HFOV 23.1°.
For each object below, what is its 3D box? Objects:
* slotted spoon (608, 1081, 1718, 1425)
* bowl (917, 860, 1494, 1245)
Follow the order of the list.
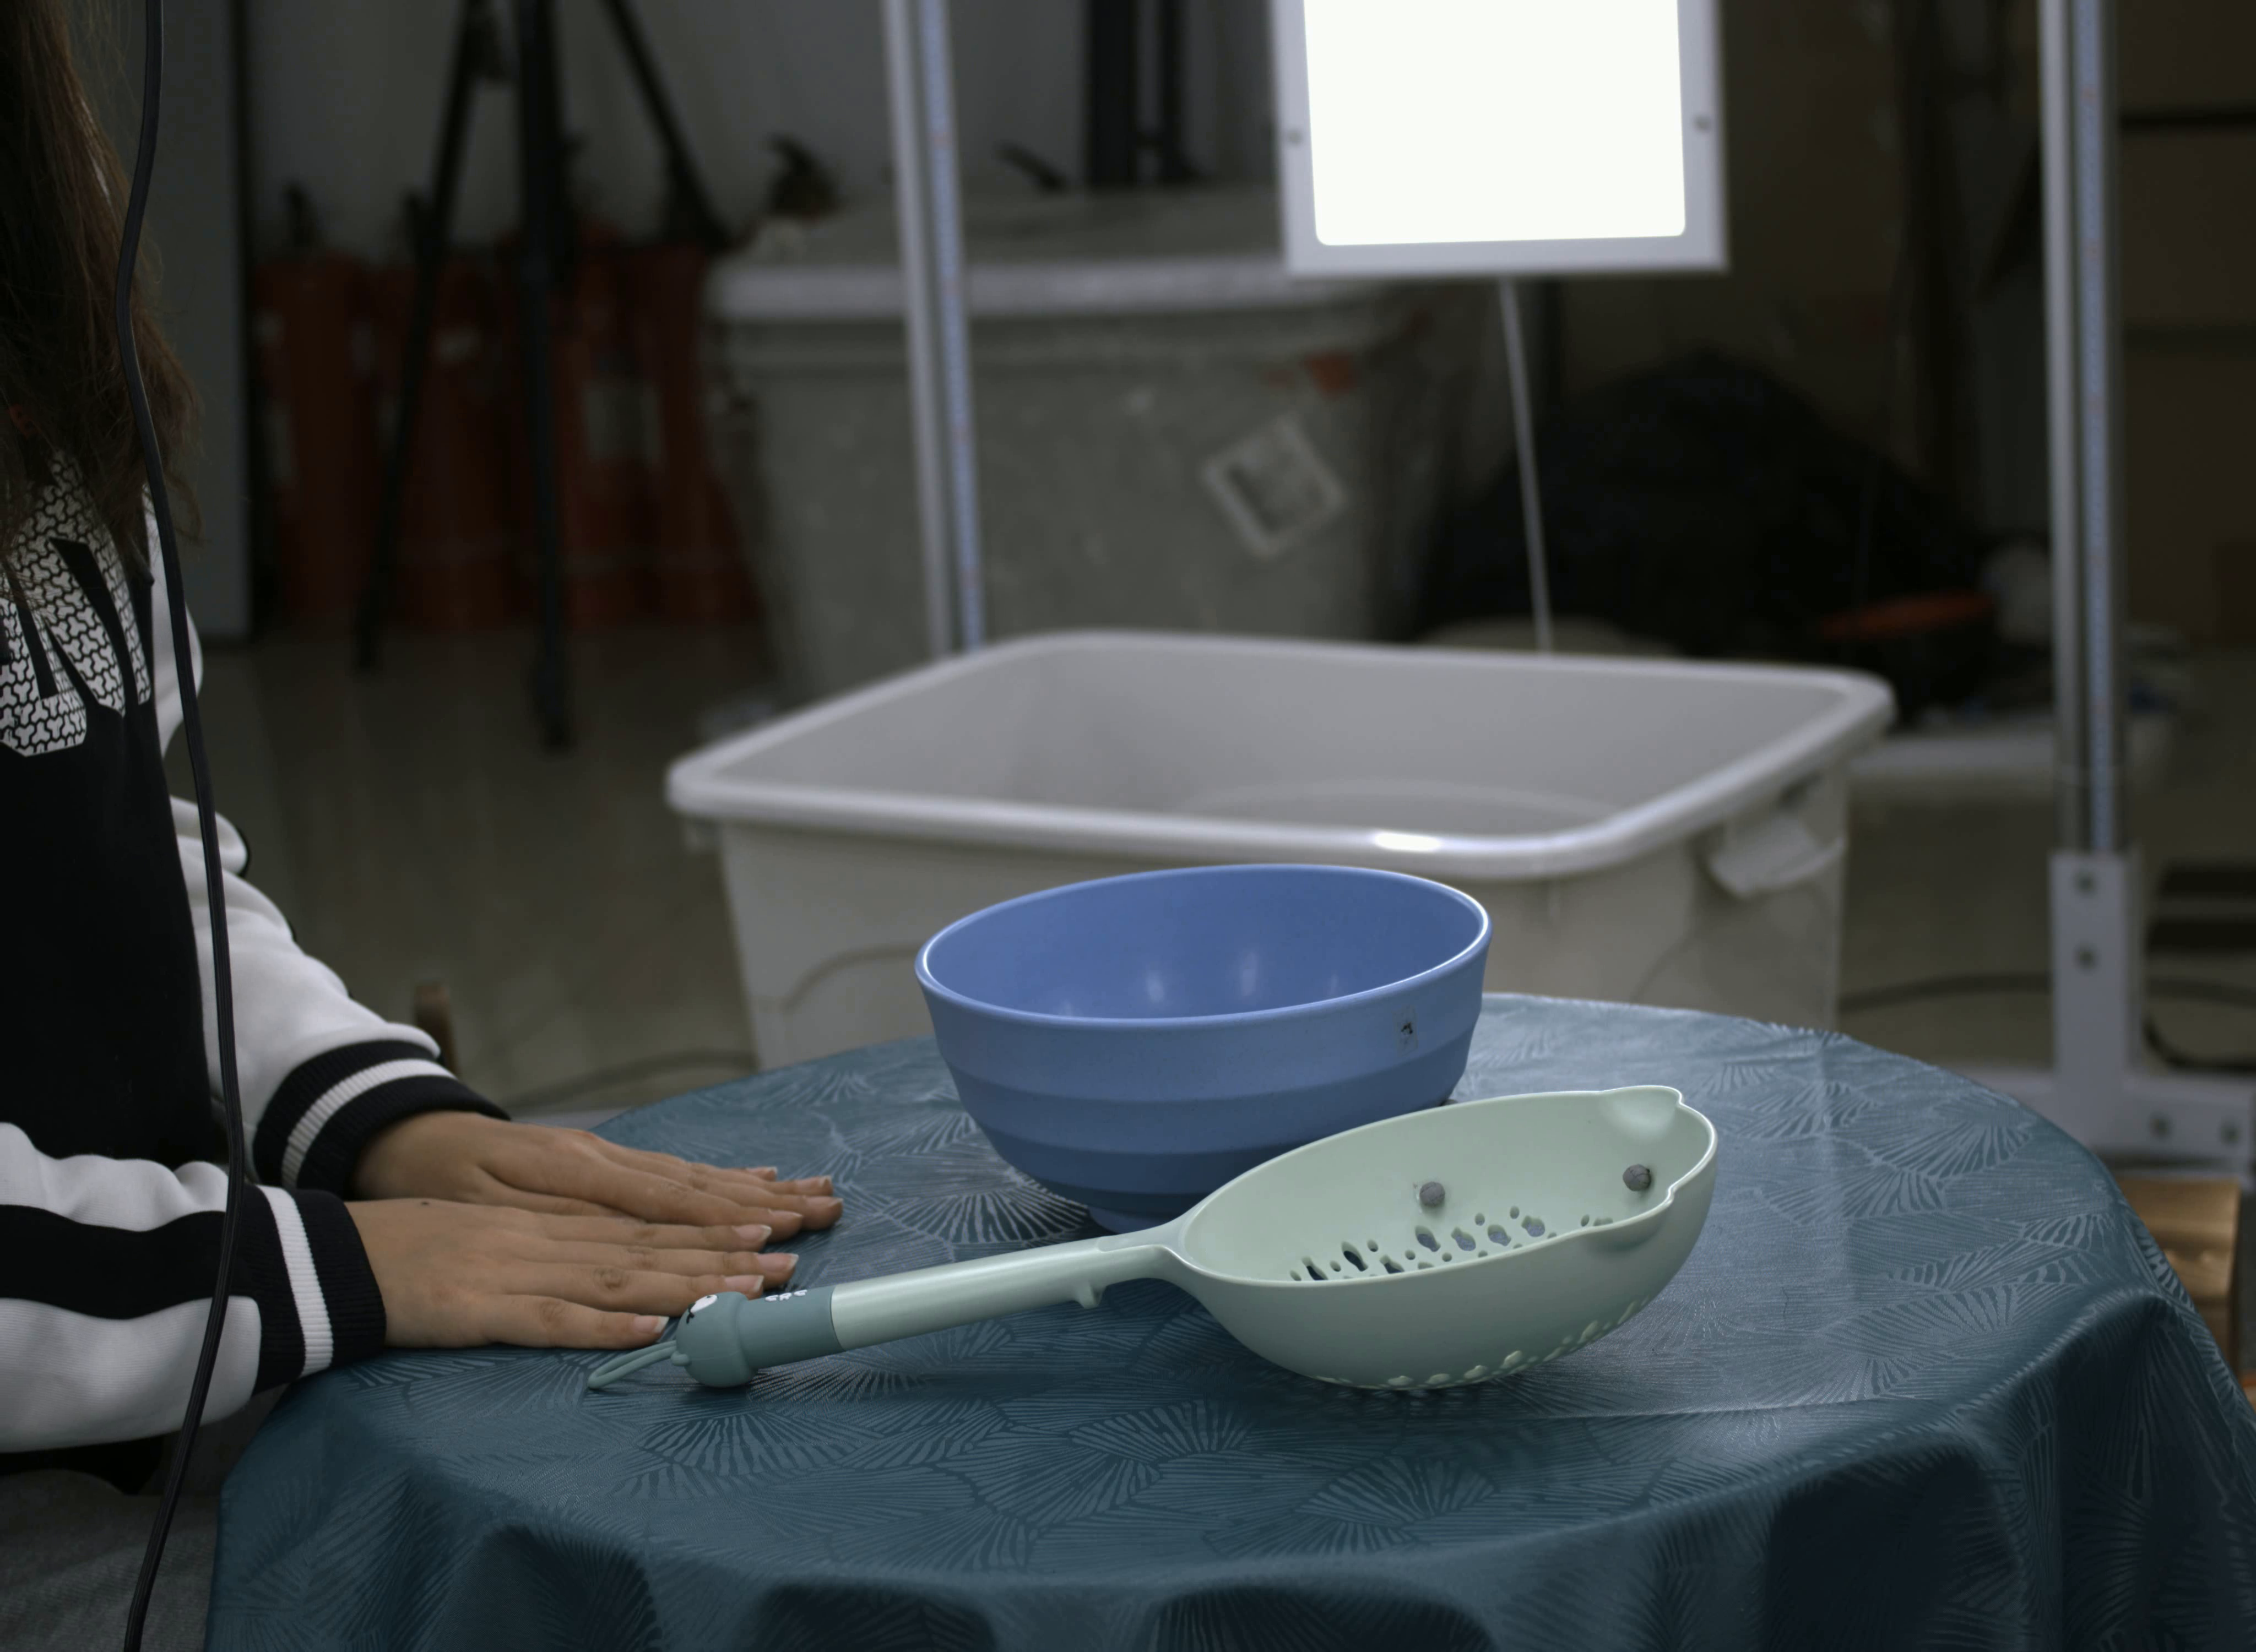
[{"bbox_3d":[0.007,0.142,1.712,0.361,0.075,0.167,-4,13,11],"label":"slotted spoon"},{"bbox_3d":[0.030,0.083,1.867,0.196,0.096,0.196,-5,14,0],"label":"bowl"}]
